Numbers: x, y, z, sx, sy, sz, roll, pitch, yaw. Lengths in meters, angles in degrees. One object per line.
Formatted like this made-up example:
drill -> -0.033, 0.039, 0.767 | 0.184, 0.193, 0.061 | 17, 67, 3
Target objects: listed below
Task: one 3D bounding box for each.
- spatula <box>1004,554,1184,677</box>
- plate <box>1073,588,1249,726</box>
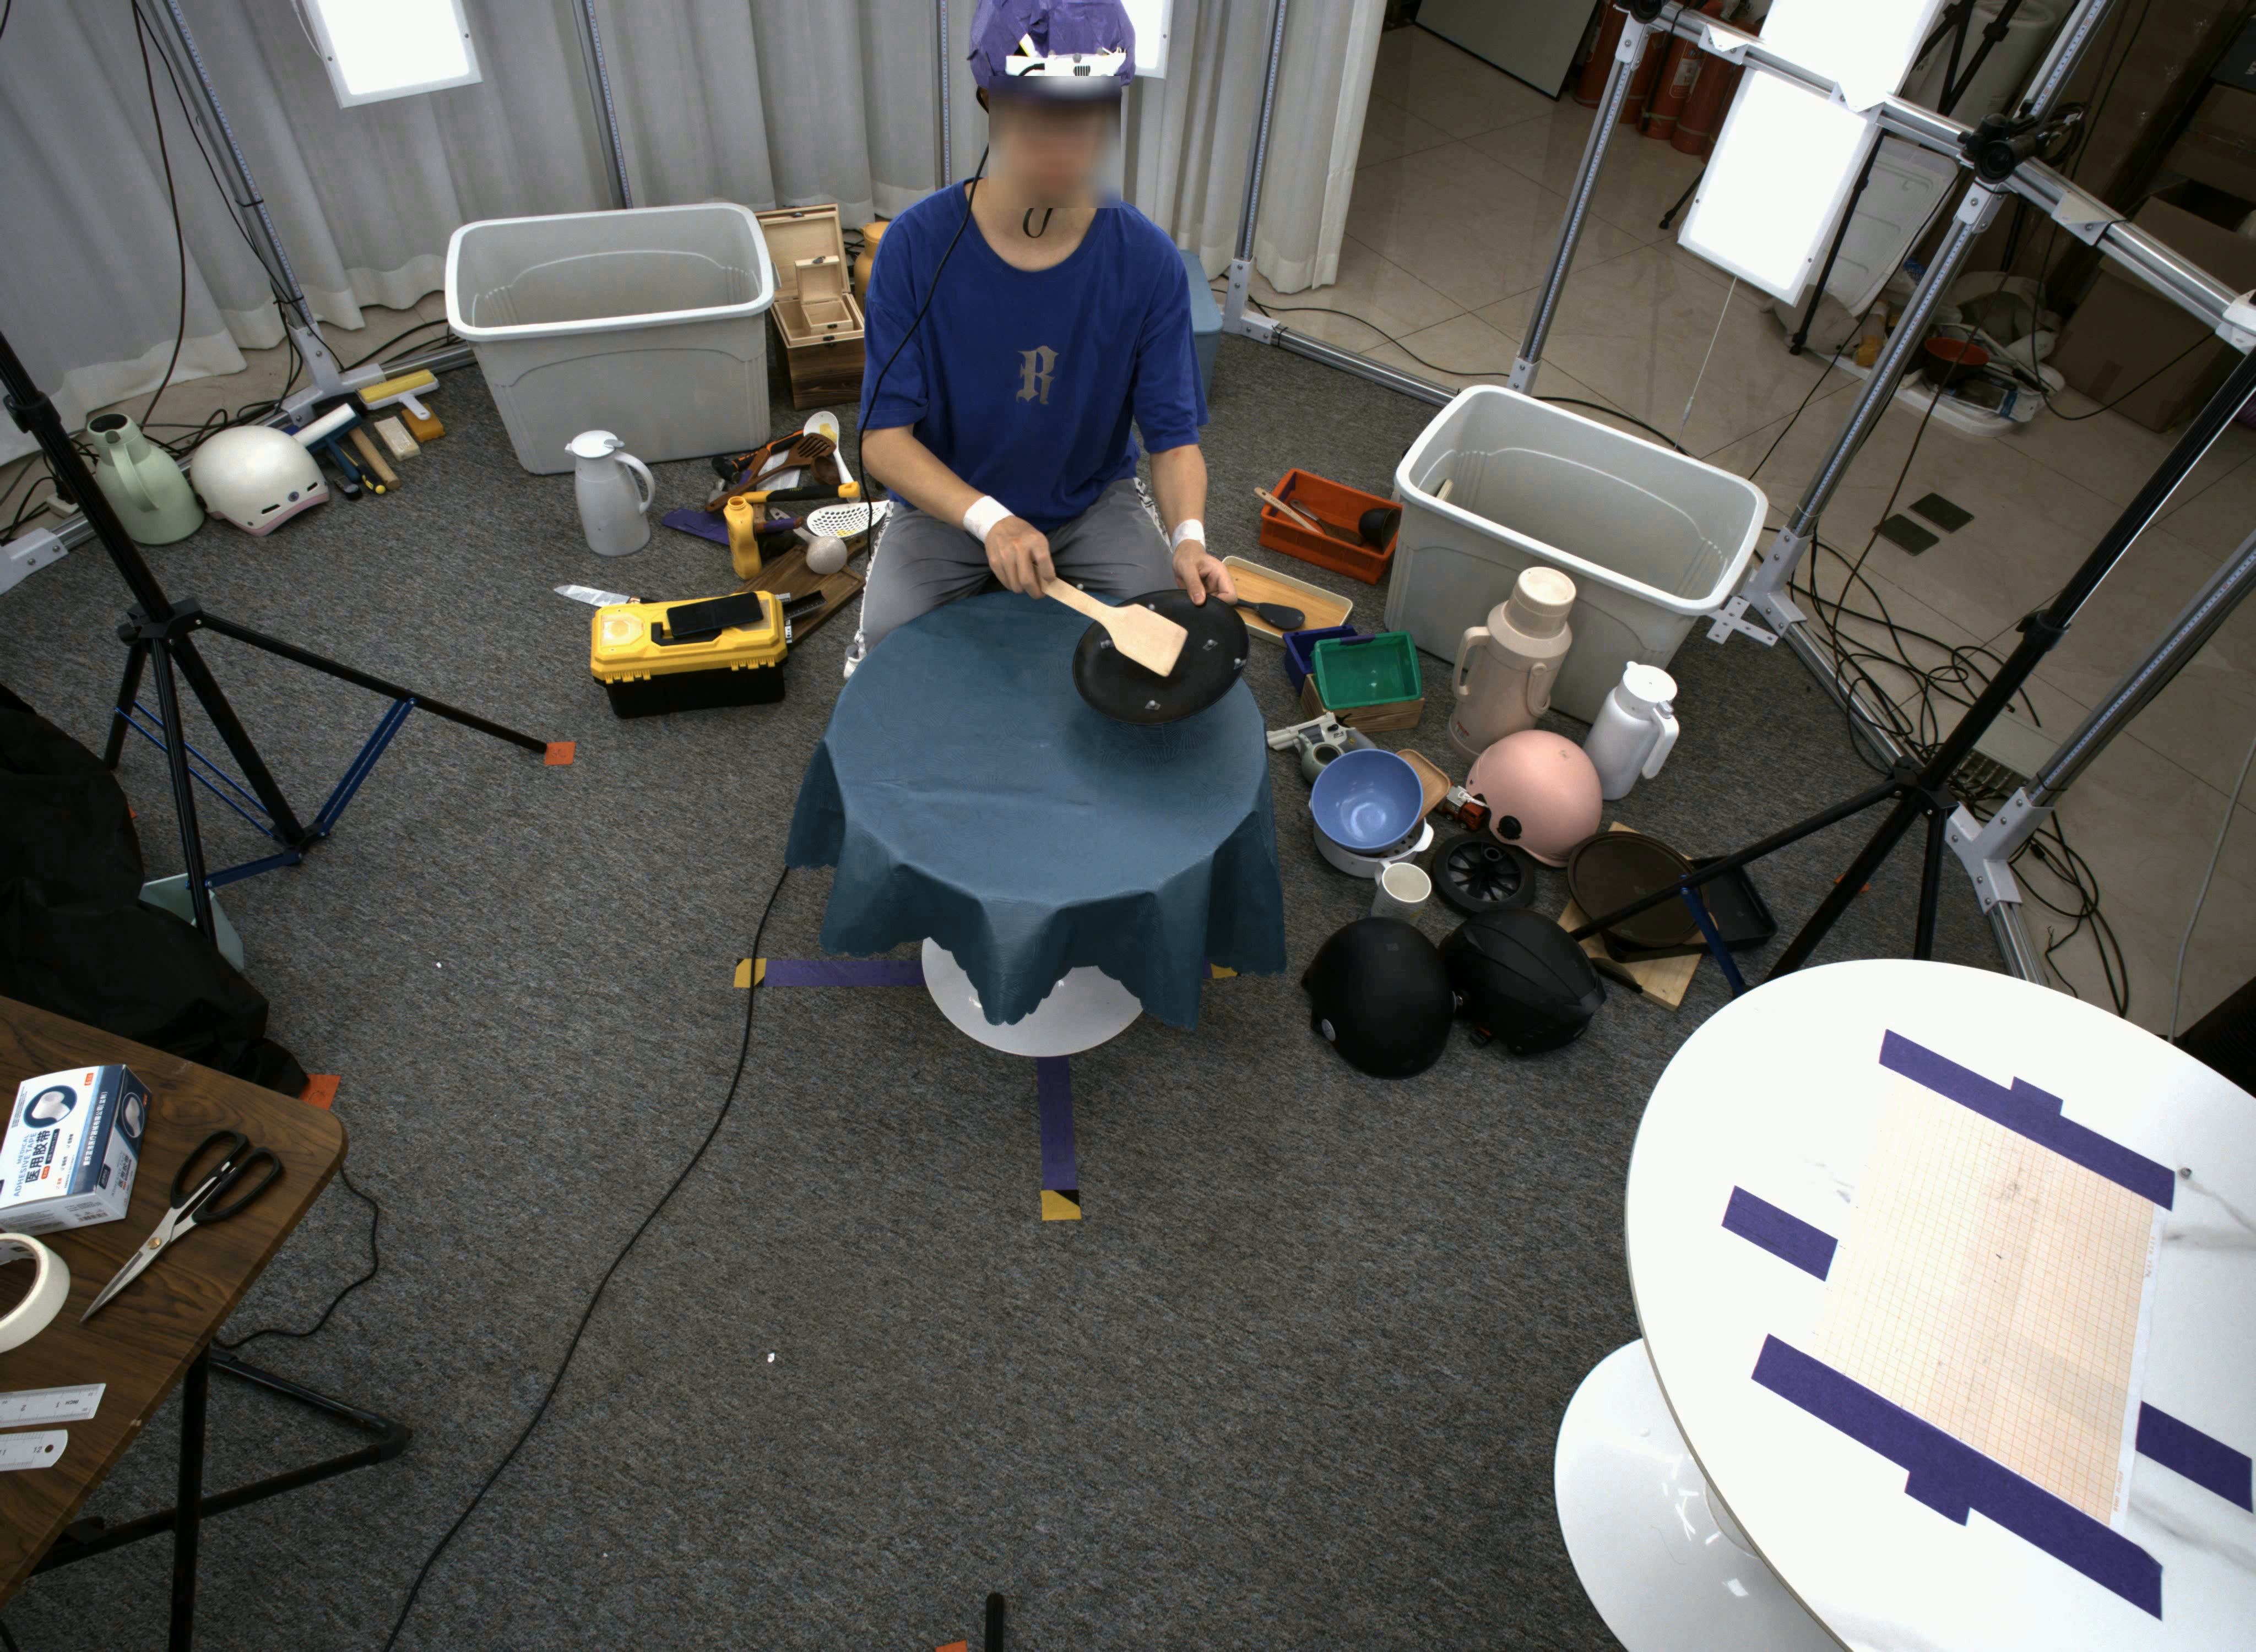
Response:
spatula -> -0.054, -0.300, 1.750 | 0.296, 0.071, 0.010 | 32, 15, 22
plate -> 0.044, -0.227, 1.740 | 0.244, 0.023, 0.250 | -8, 53, 10
